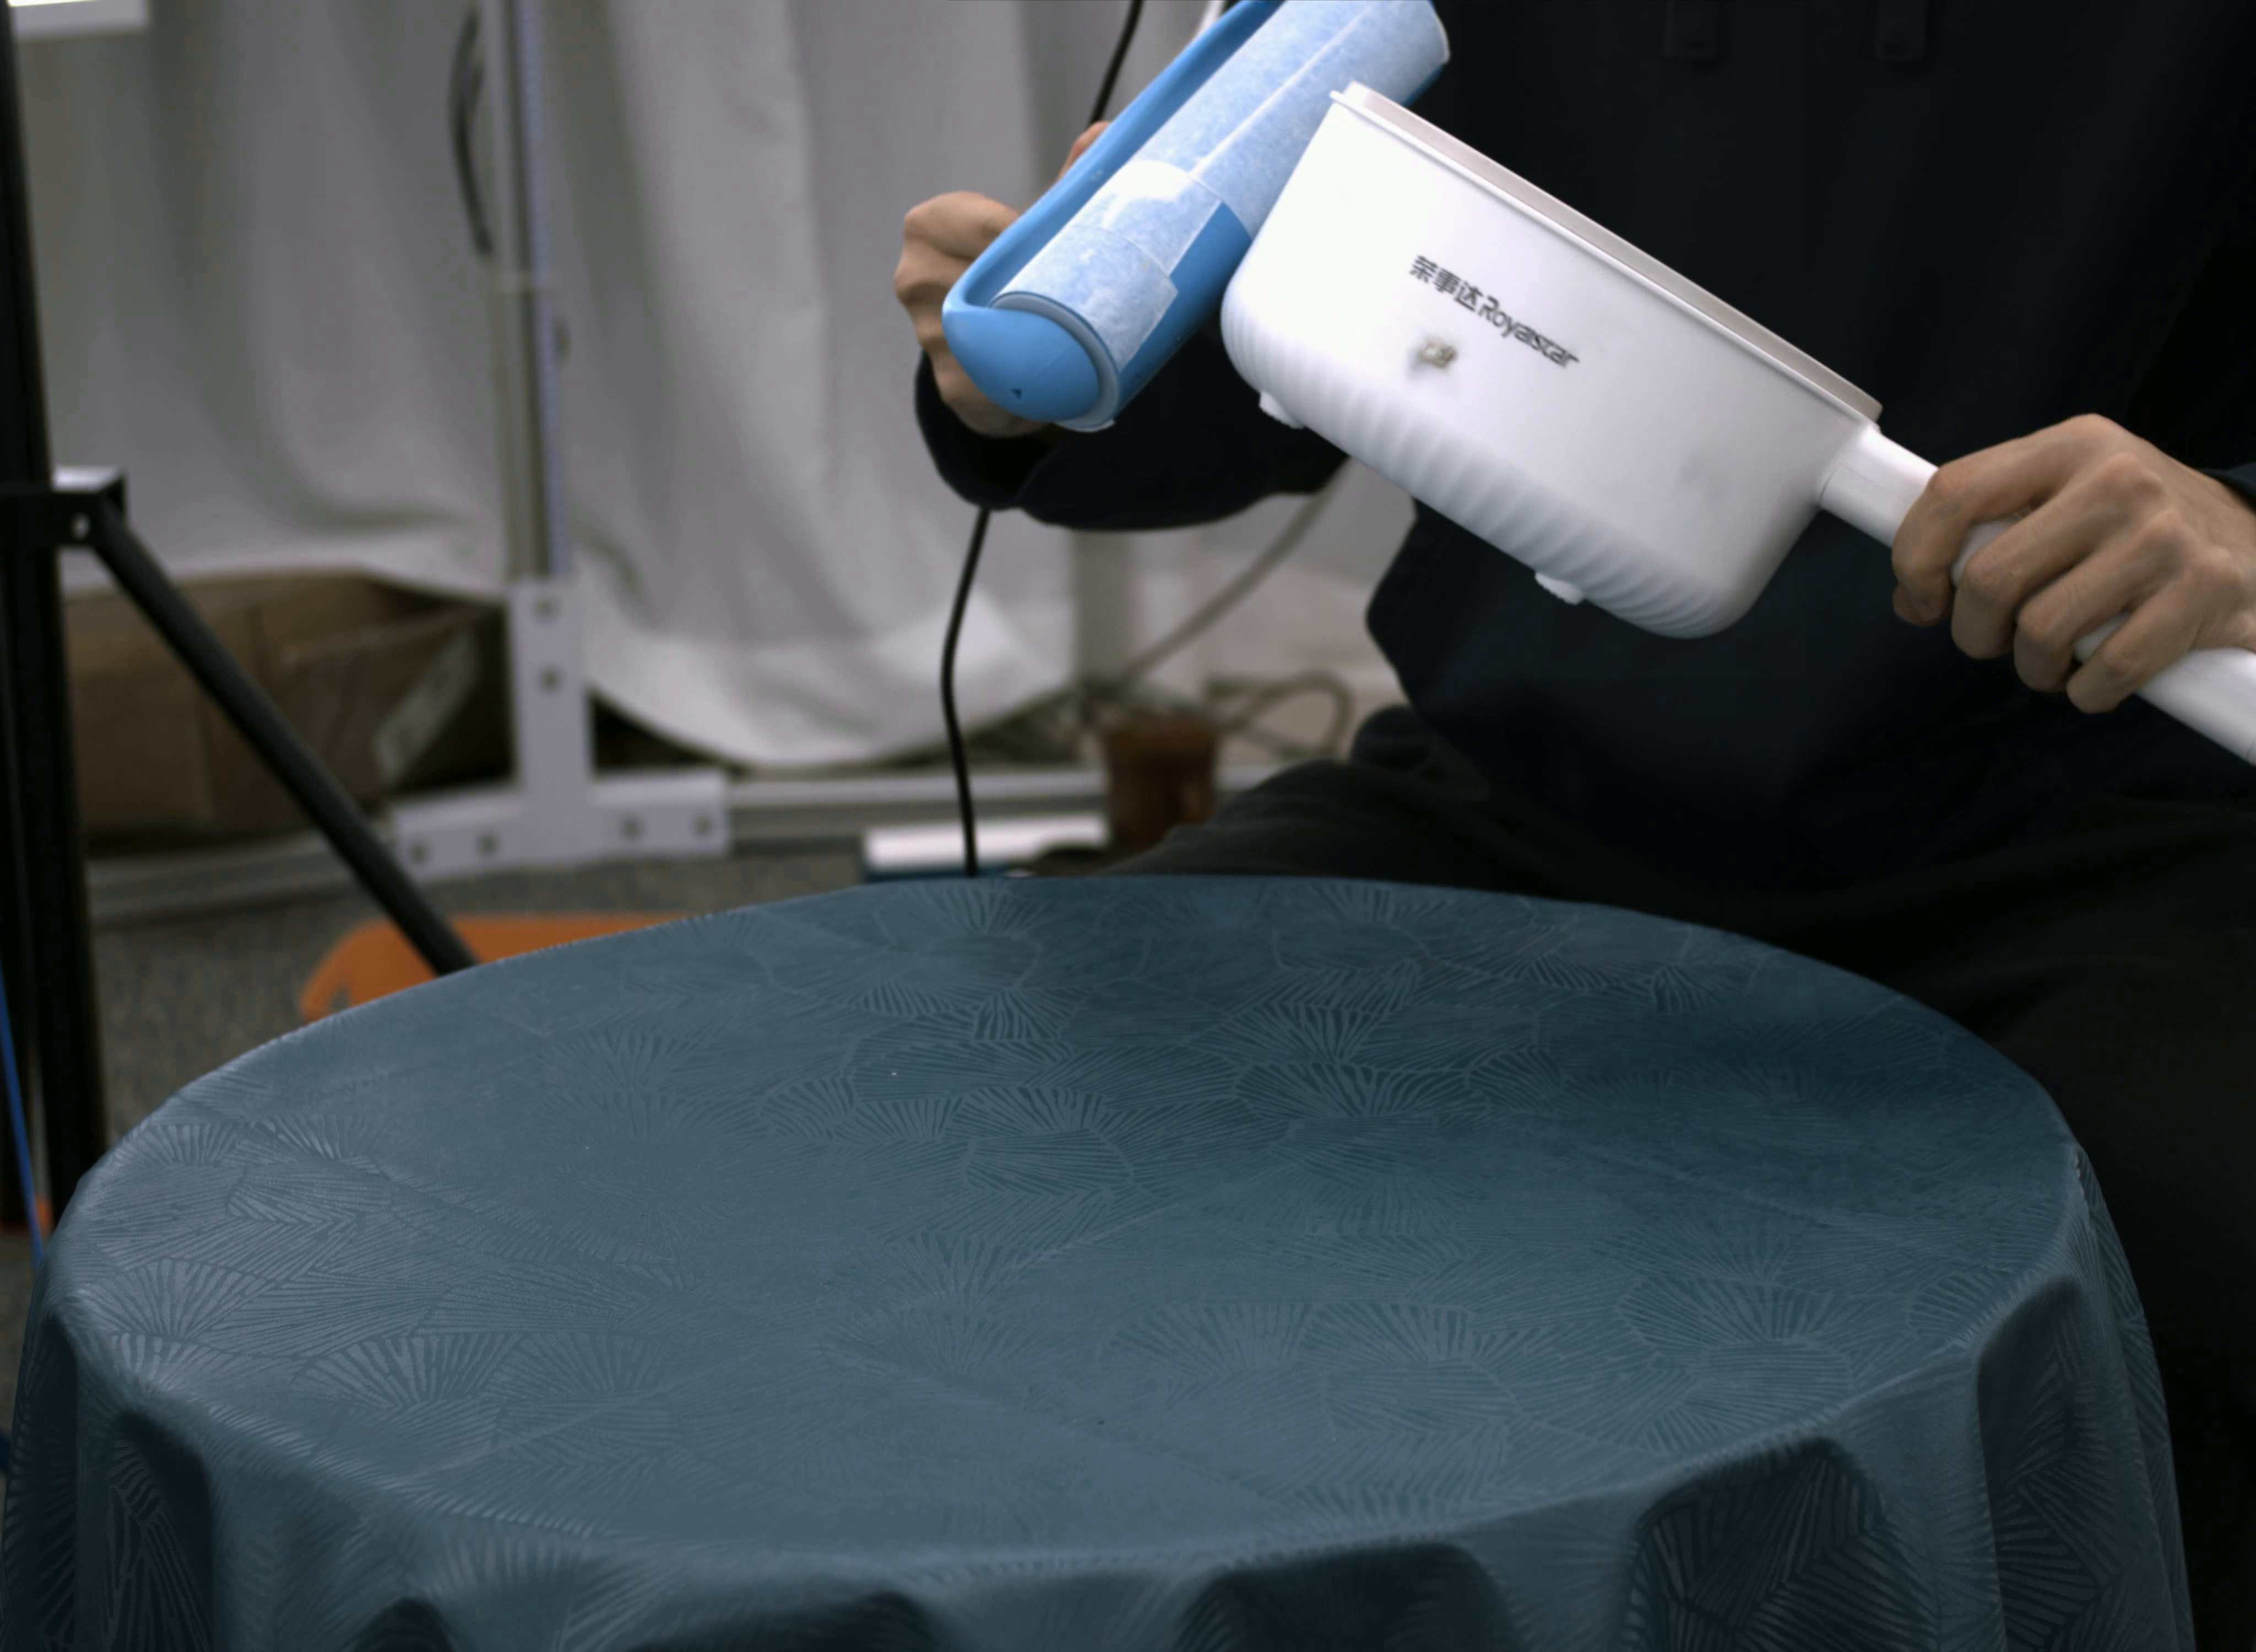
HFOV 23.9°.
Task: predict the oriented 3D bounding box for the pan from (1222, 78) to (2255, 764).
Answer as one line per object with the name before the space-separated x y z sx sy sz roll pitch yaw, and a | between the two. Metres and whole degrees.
pan | 0.188 -0.097 1.650 0.358 0.102 0.198 34 7 15

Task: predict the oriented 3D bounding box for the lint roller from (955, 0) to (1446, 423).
lint roller | -0.001 -0.191 1.772 0.183 0.067 0.227 -28 19 53
